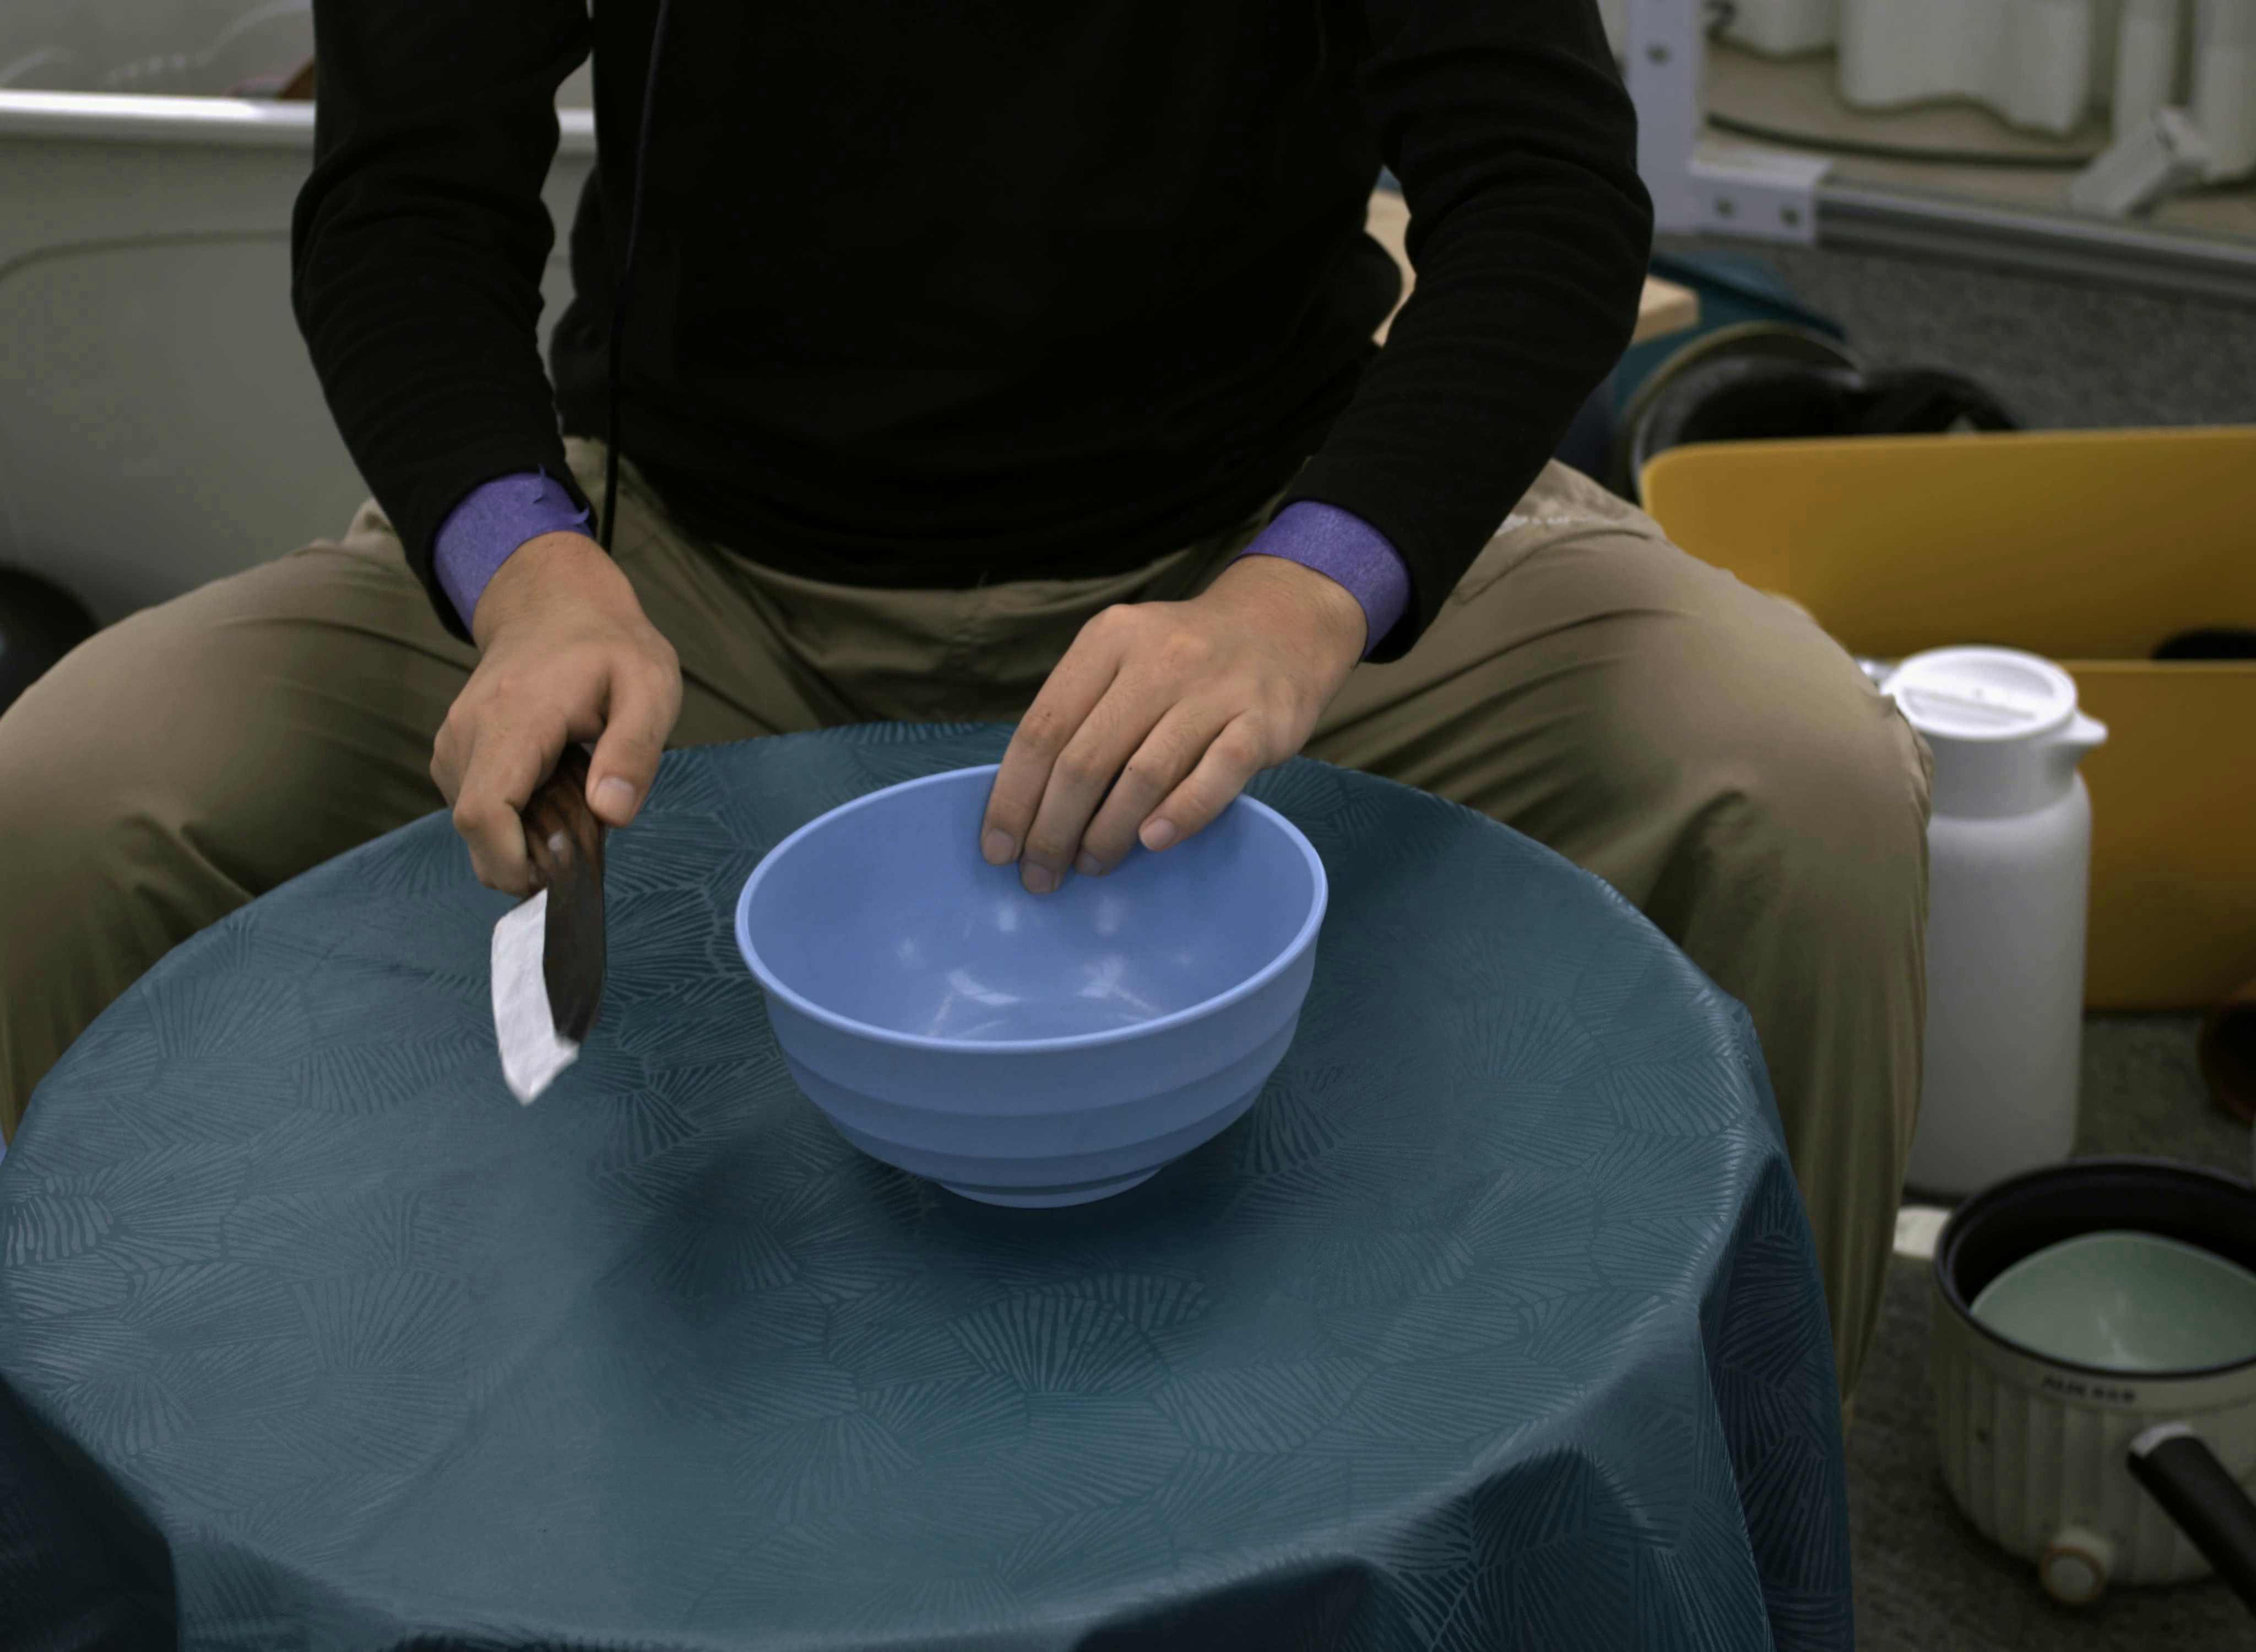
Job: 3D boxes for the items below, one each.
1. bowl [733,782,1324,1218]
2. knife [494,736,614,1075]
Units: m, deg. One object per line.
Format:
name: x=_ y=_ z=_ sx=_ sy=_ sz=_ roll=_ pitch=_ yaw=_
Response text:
bowl: x=-0.030 y=0.067 z=1.872 sx=0.195 sy=0.094 sz=0.199 roll=-3 pitch=24 yaw=2
knife: x=-0.190 y=0.025 z=1.866 sx=0.050 sy=0.020 sz=0.292 roll=-34 pitch=19 yaw=7
